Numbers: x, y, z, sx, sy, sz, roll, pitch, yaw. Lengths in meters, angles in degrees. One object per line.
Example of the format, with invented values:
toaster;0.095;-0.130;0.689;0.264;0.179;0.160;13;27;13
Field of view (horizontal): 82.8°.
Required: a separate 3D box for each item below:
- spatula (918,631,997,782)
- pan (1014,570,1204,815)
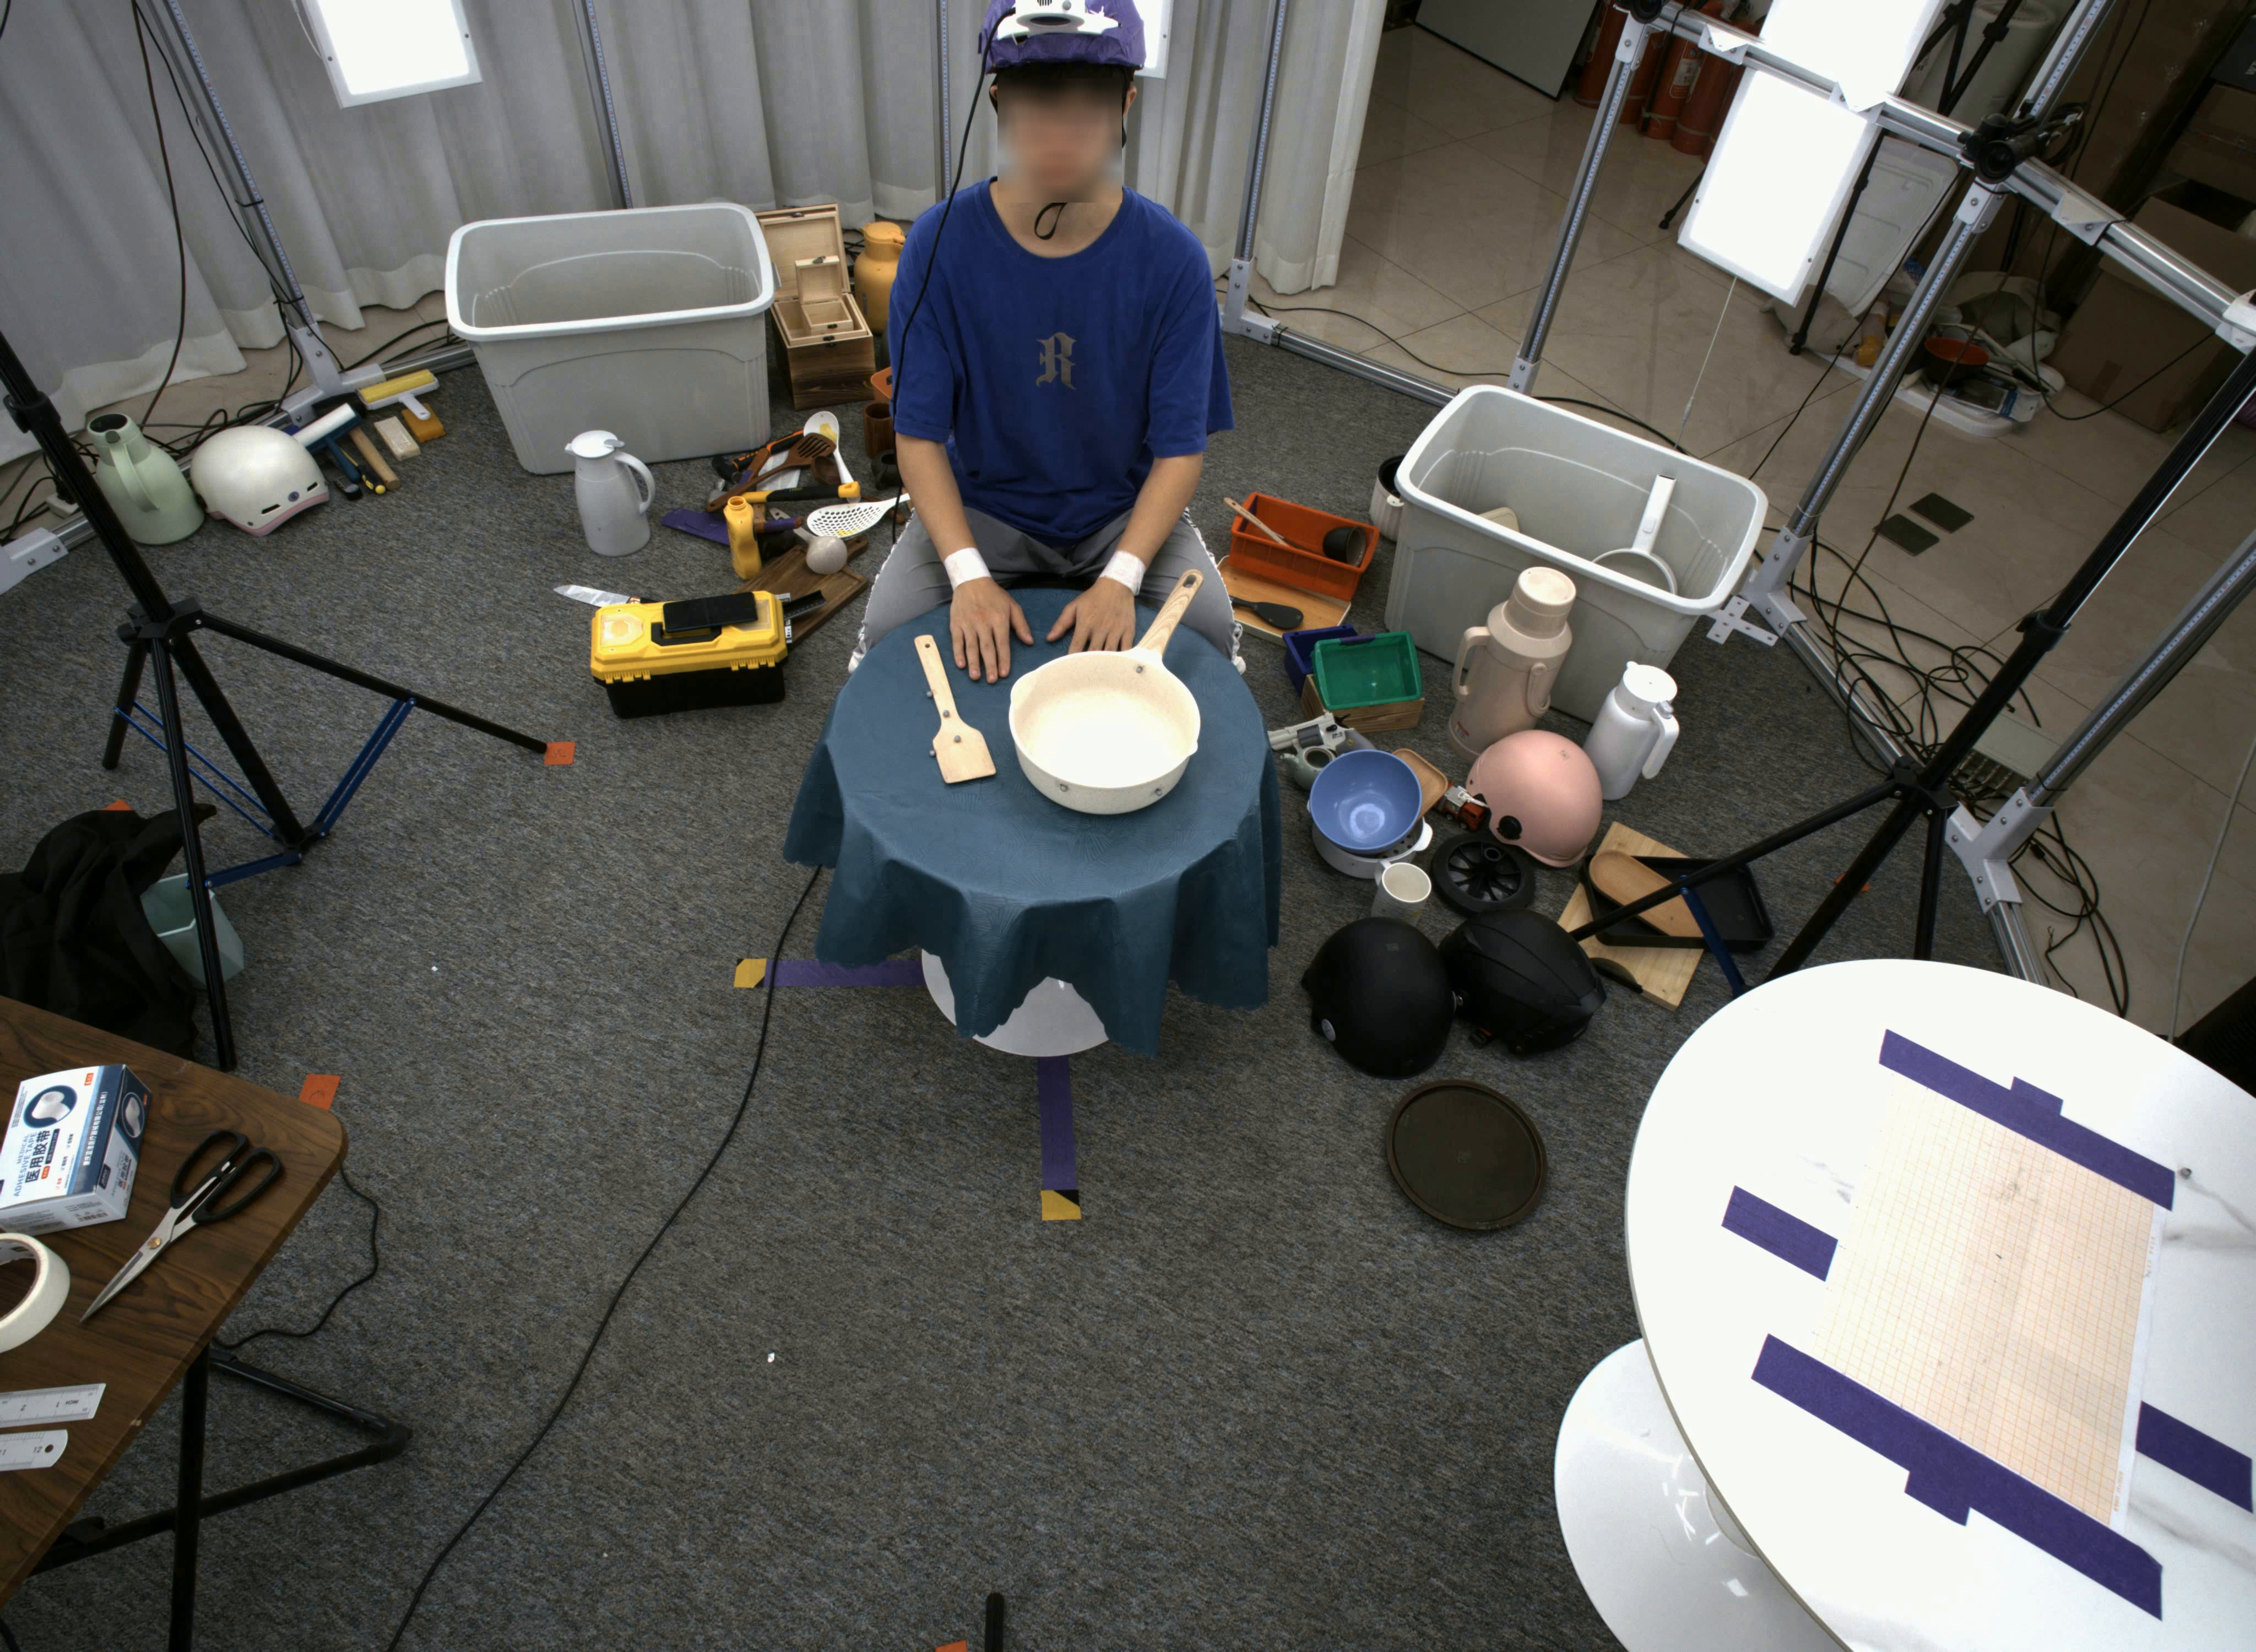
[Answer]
spatula;-0.252;-0.173;1.800;0.072;0.010;0.300;-13;52;-12
pan;0.010;-0.187;1.771;0.265;0.099;0.443;19;51;14
